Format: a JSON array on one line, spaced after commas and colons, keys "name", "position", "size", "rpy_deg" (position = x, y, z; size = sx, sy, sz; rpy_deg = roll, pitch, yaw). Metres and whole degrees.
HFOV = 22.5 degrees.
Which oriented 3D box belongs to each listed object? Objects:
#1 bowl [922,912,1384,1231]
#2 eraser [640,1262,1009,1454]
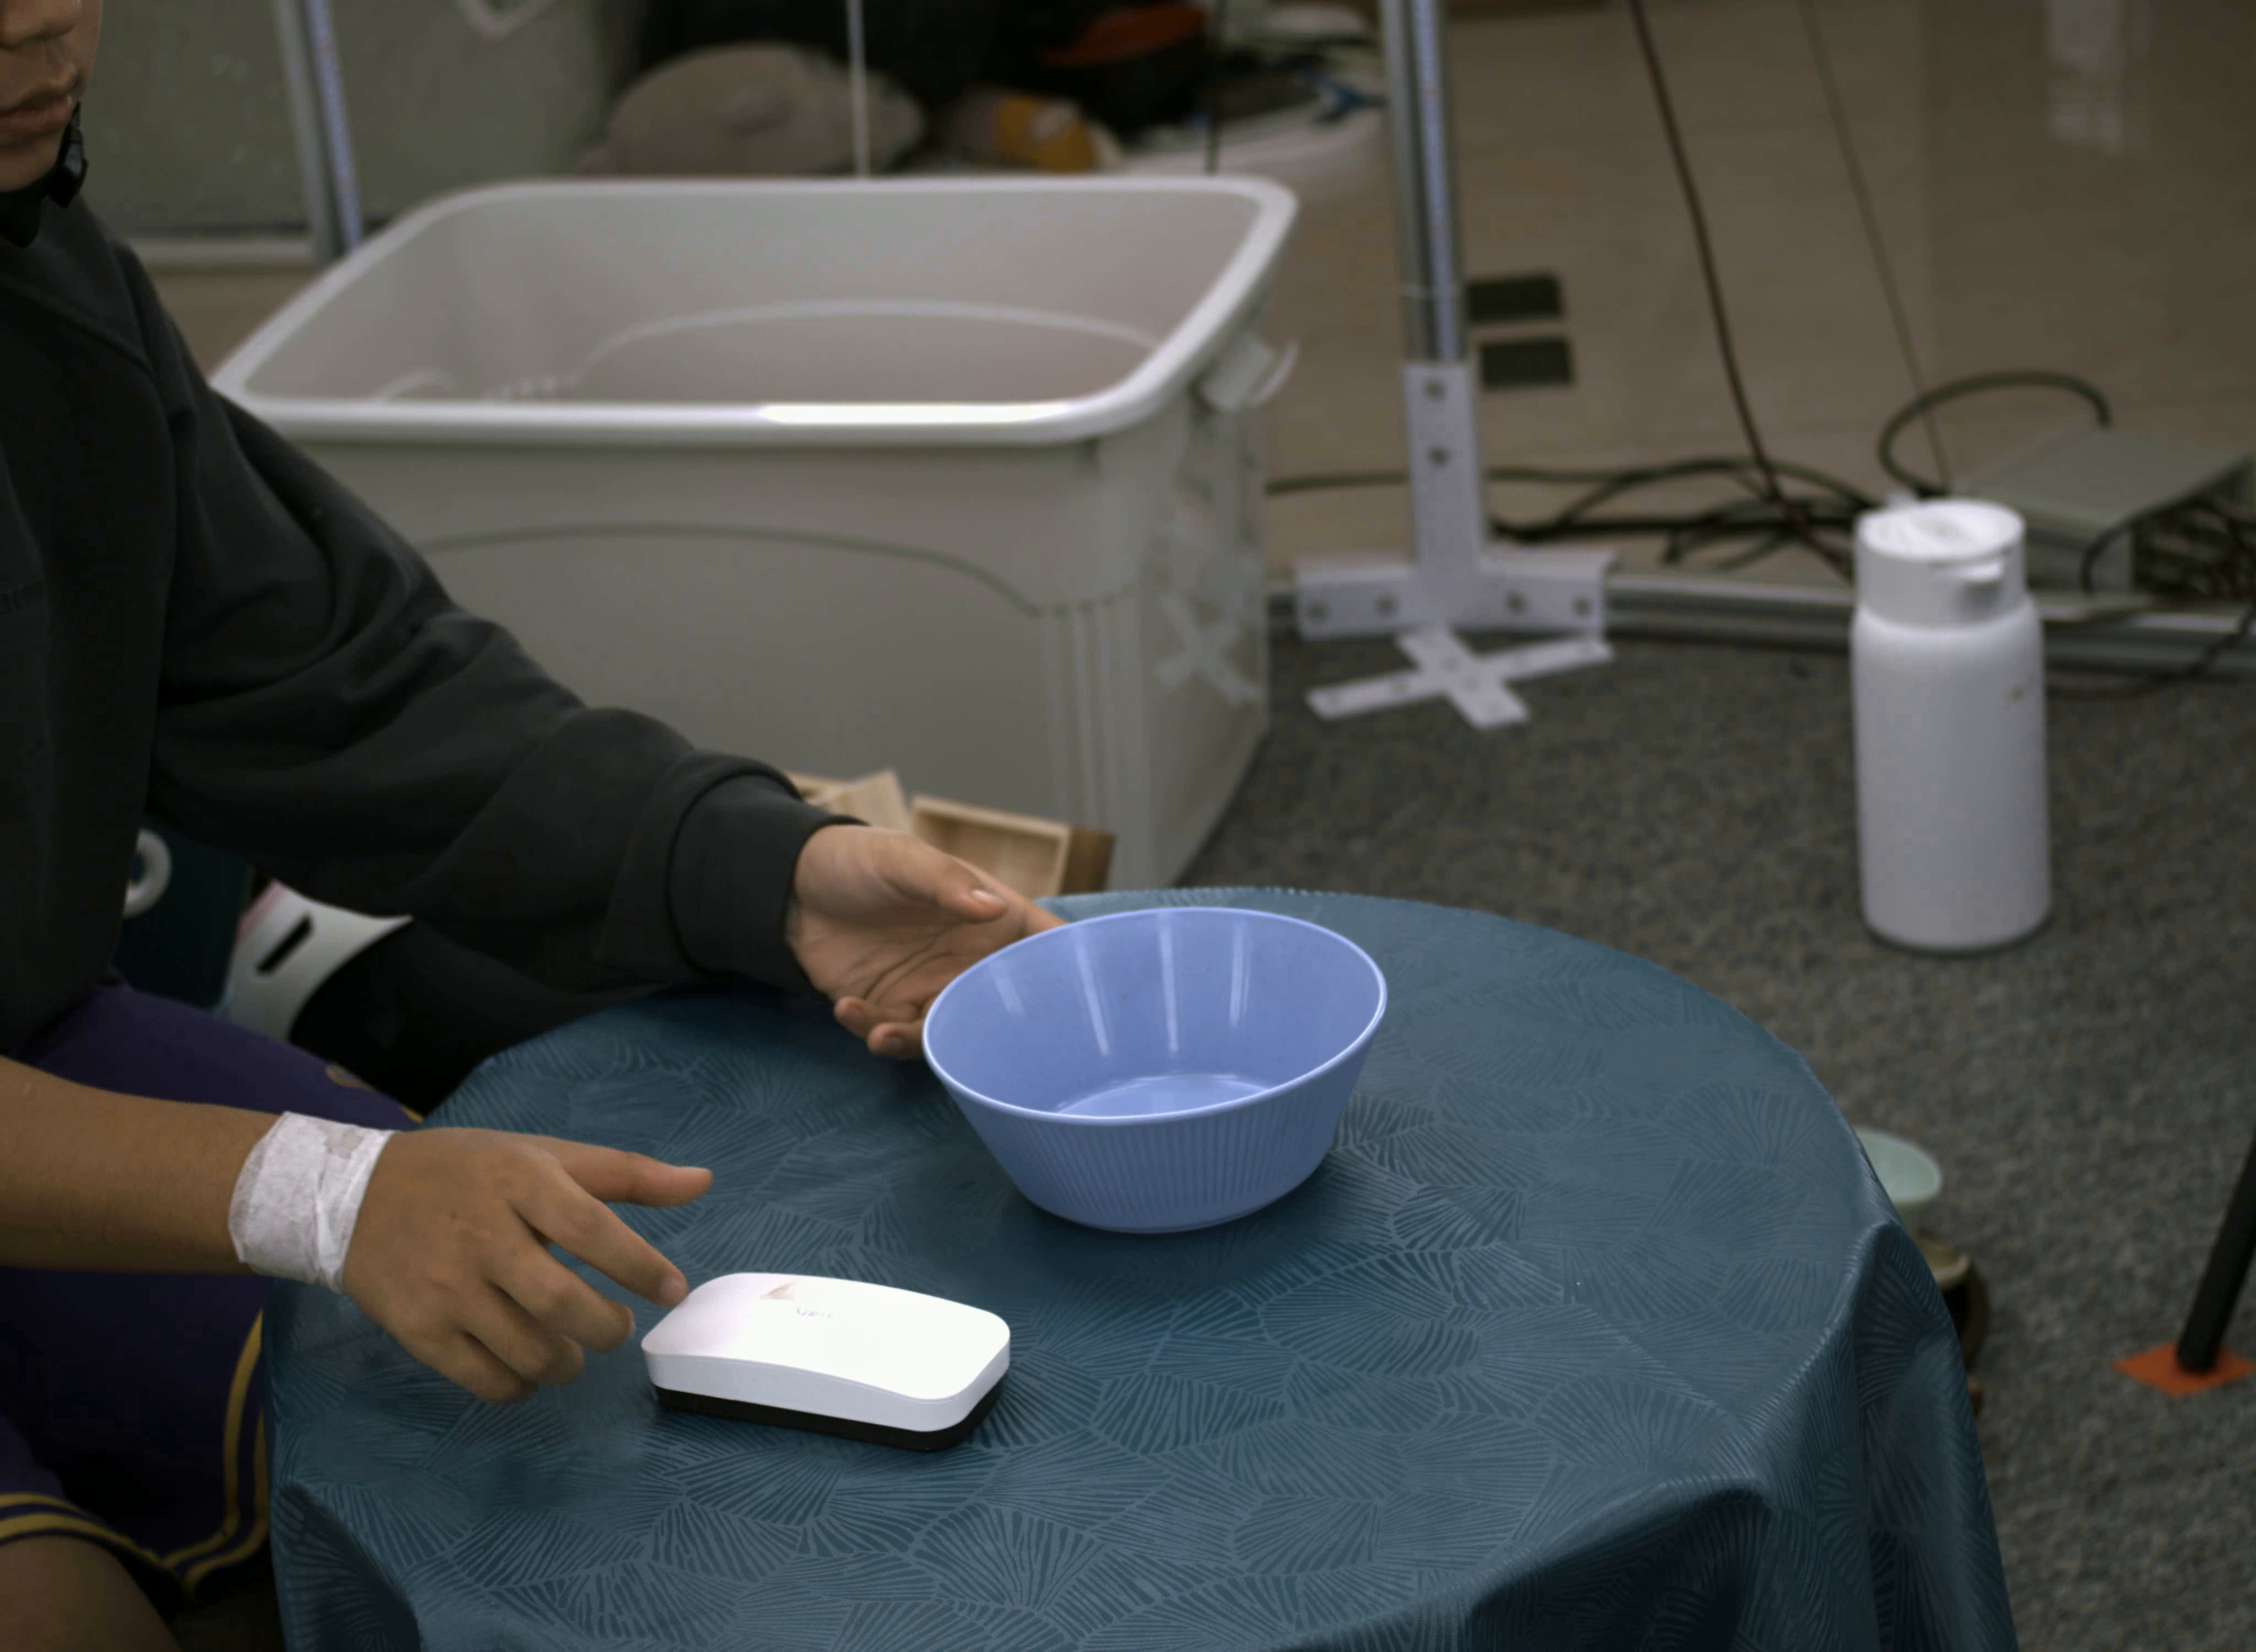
[{"name": "bowl", "position": [0.012, 0.098, 2.145], "size": [0.176, 0.071, 0.173], "rpy_deg": [-5, 24, 2]}, {"name": "eraser", "position": [-0.108, 0.188, 2.029], "size": [0.131, 0.035, 0.062], "rpy_deg": [9, 28, 27]}]
